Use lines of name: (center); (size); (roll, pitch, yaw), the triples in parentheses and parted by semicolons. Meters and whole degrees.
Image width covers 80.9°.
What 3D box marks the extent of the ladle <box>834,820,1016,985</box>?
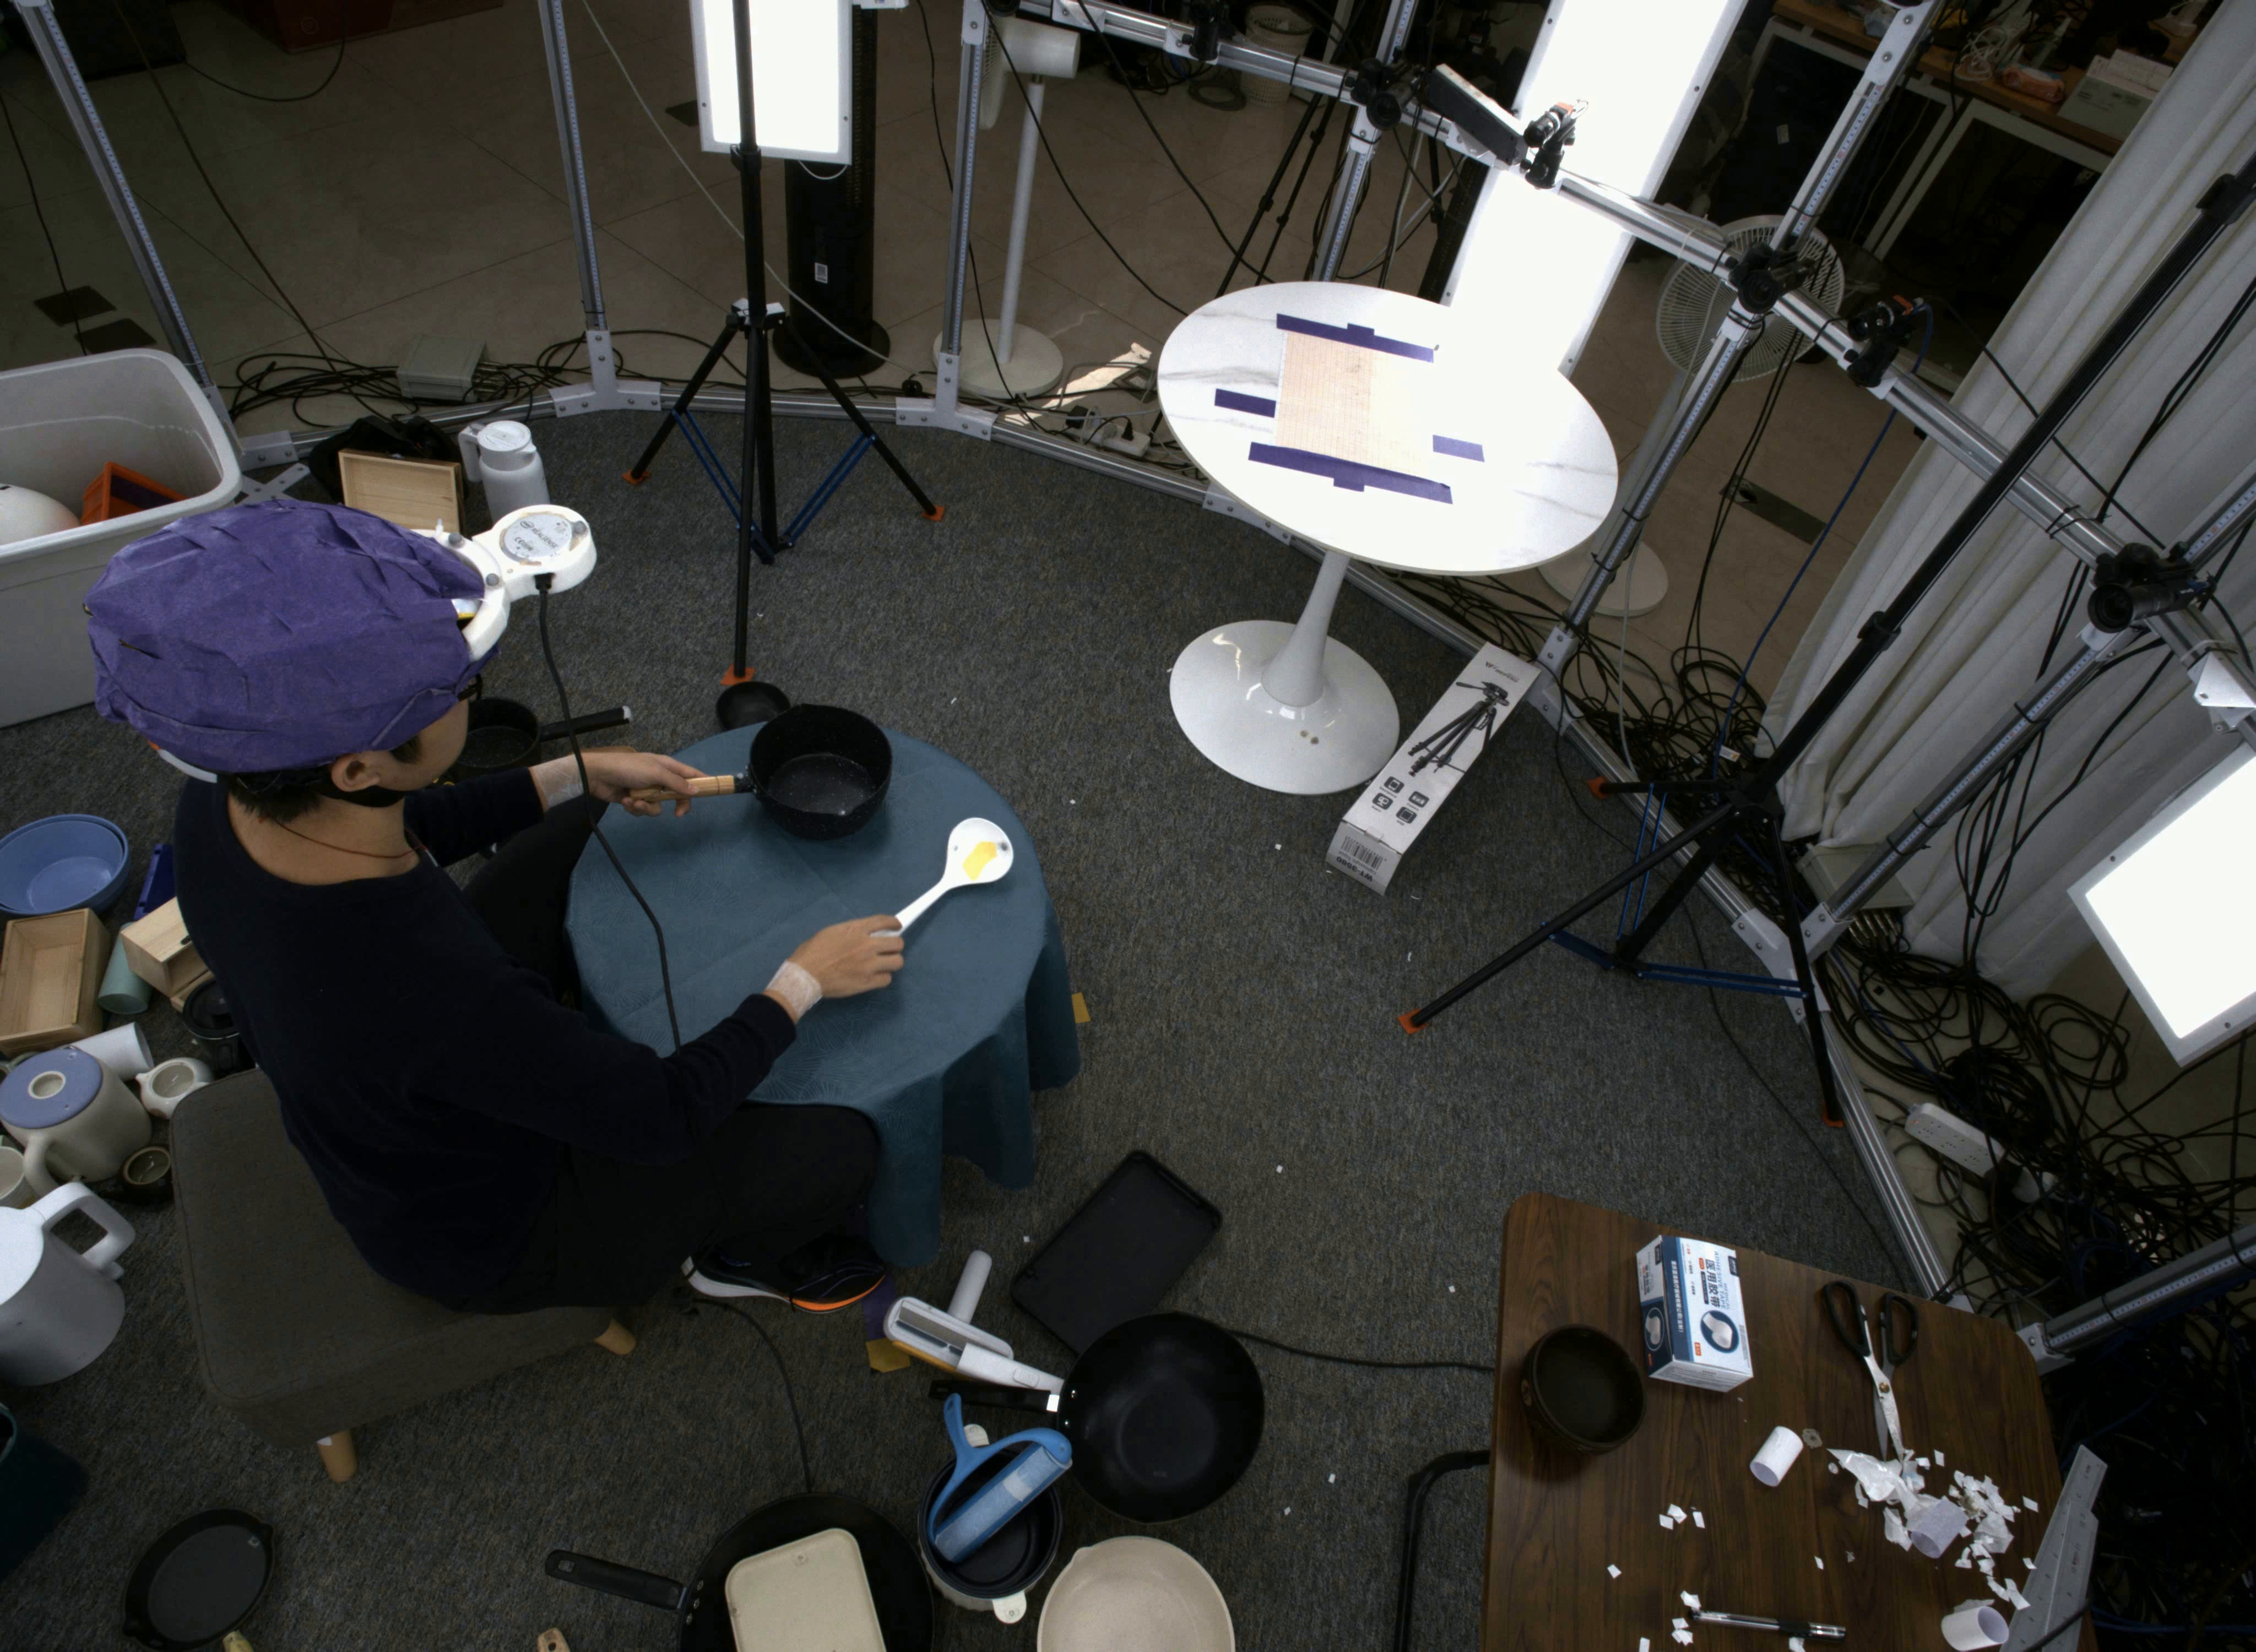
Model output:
ladle: (-0.253, 0.094, 1.628); (0.091, 0.069, 0.293); (49, 45, -2)

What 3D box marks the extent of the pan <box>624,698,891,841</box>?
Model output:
pan: (-0.475, -0.053, 1.670); (0.345, 0.110, 0.202); (-16, 60, -26)
